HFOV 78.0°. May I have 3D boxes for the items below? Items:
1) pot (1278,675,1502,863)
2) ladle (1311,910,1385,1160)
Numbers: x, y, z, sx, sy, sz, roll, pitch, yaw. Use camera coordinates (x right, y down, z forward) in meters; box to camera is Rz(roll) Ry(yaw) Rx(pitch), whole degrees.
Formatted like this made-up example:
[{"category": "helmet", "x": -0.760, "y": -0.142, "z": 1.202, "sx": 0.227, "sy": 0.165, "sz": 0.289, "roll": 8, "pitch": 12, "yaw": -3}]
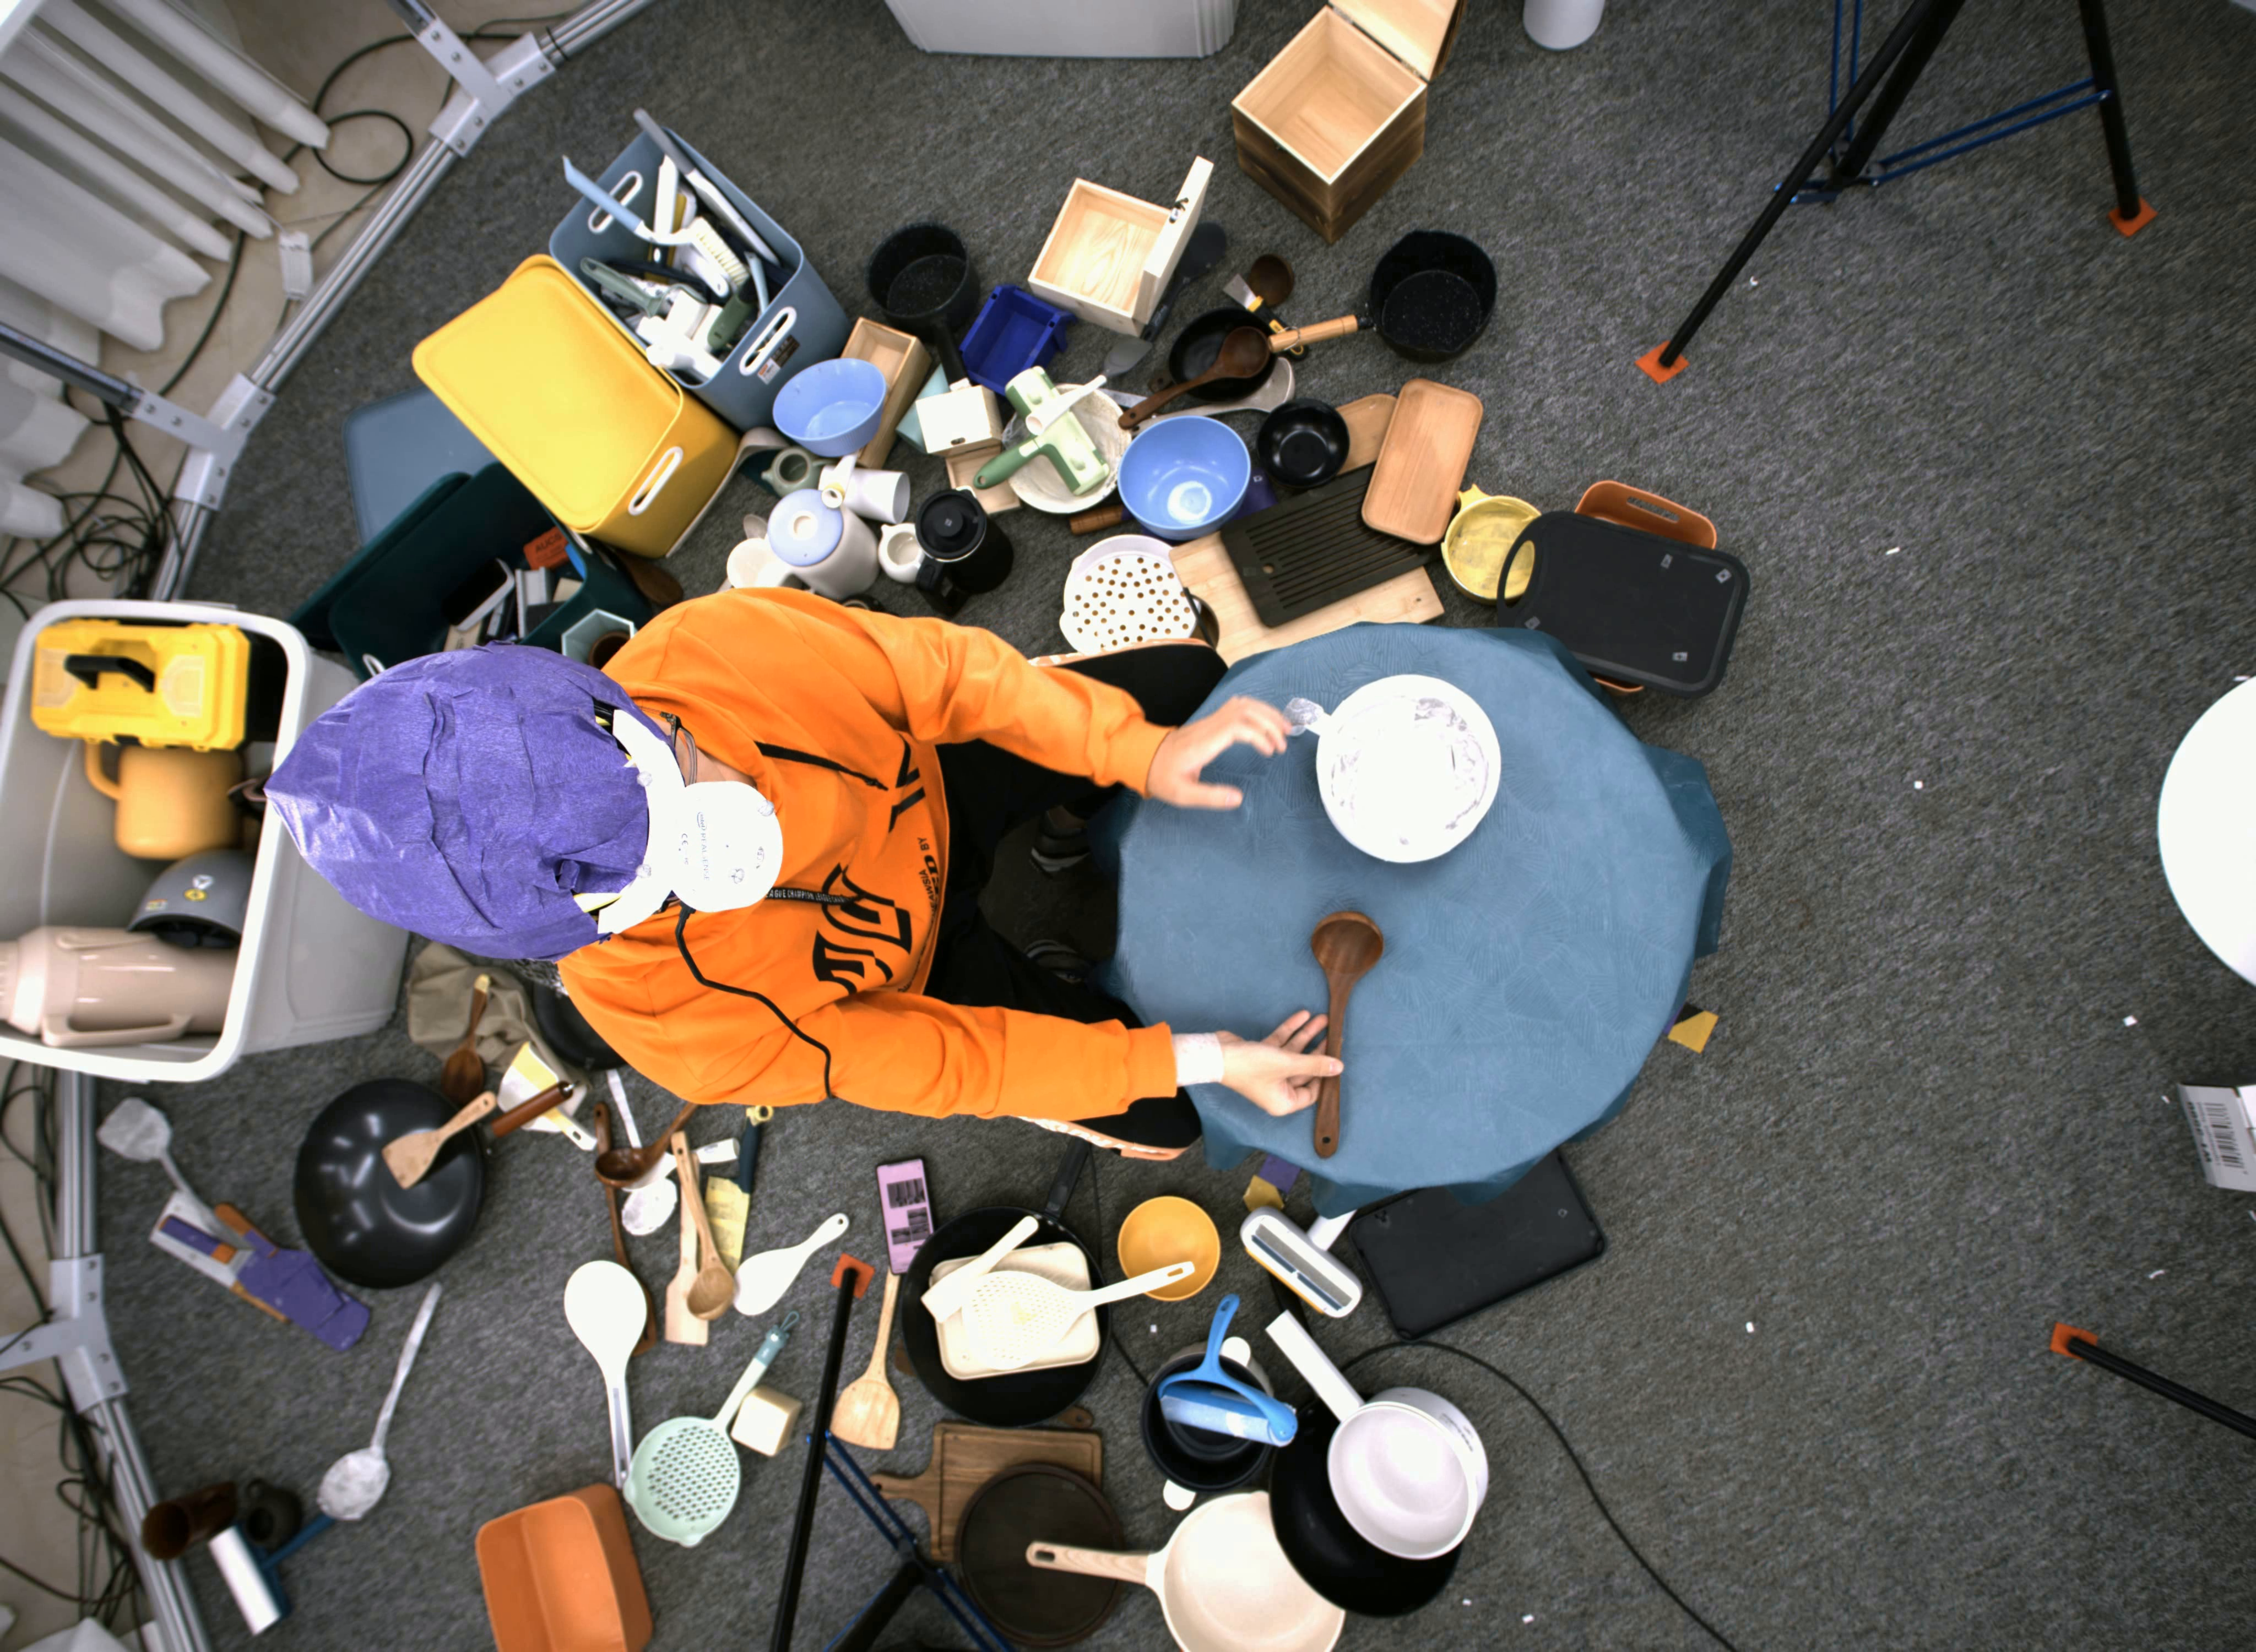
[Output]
[{"category": "pot", "x": 0.258, "y": -0.068, "z": 1.400, "sx": 0.233, "sy": 0.137, "sz": 0.179, "roll": 28, "pitch": 91, "yaw": 11}, {"category": "ladle", "x": 0.216, "y": 0.215, "z": 1.429, "sx": 0.077, "sy": 0.065, "sz": 0.259, "roll": 7, "pitch": 88, "yaw": 15}]
